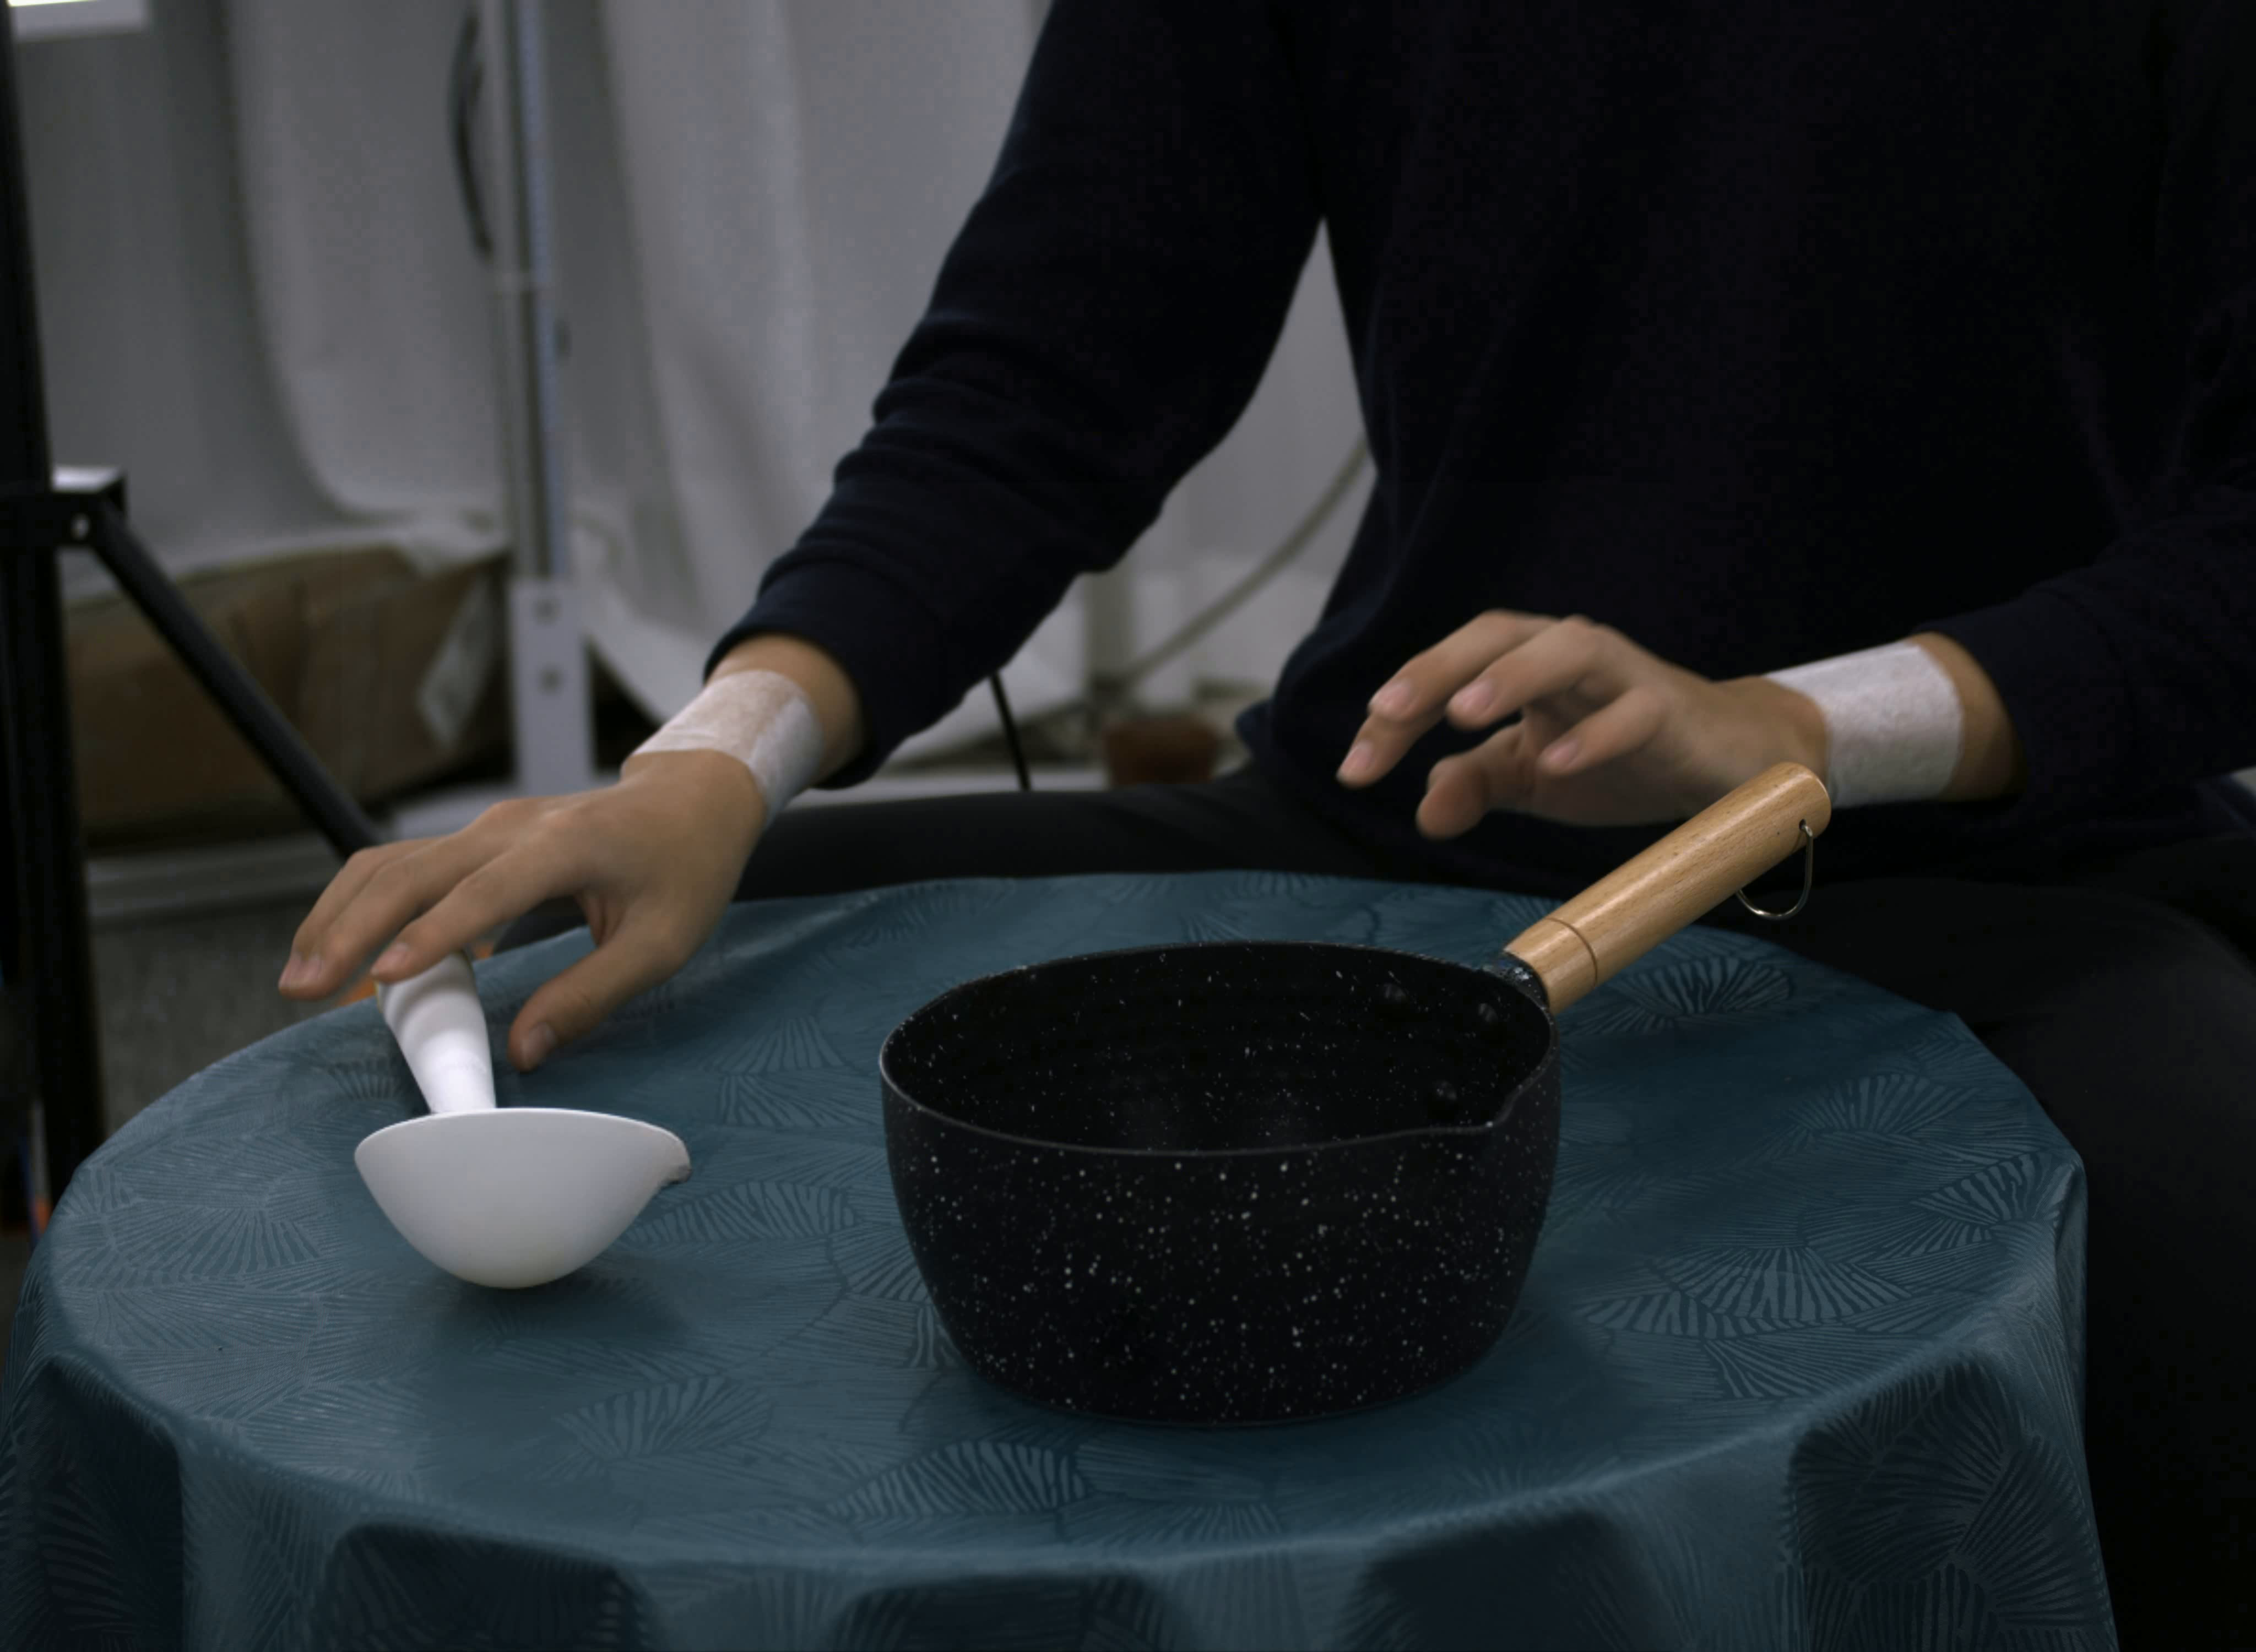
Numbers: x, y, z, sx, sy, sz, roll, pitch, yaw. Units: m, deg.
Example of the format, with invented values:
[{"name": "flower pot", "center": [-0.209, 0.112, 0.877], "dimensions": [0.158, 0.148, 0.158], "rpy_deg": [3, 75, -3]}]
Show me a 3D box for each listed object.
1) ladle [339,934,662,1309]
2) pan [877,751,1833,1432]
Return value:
[{"name": "ladle", "center": [-0.192, 0.074, 1.600], "dimensions": [0.089, 0.070, 0.296], "rpy_deg": [-1, 17, -8]}, {"name": "pan", "center": [0.082, 0.069, 1.484], "dimensions": [0.335, 0.108, 0.212], "rpy_deg": [-19, 21, -41]}]
